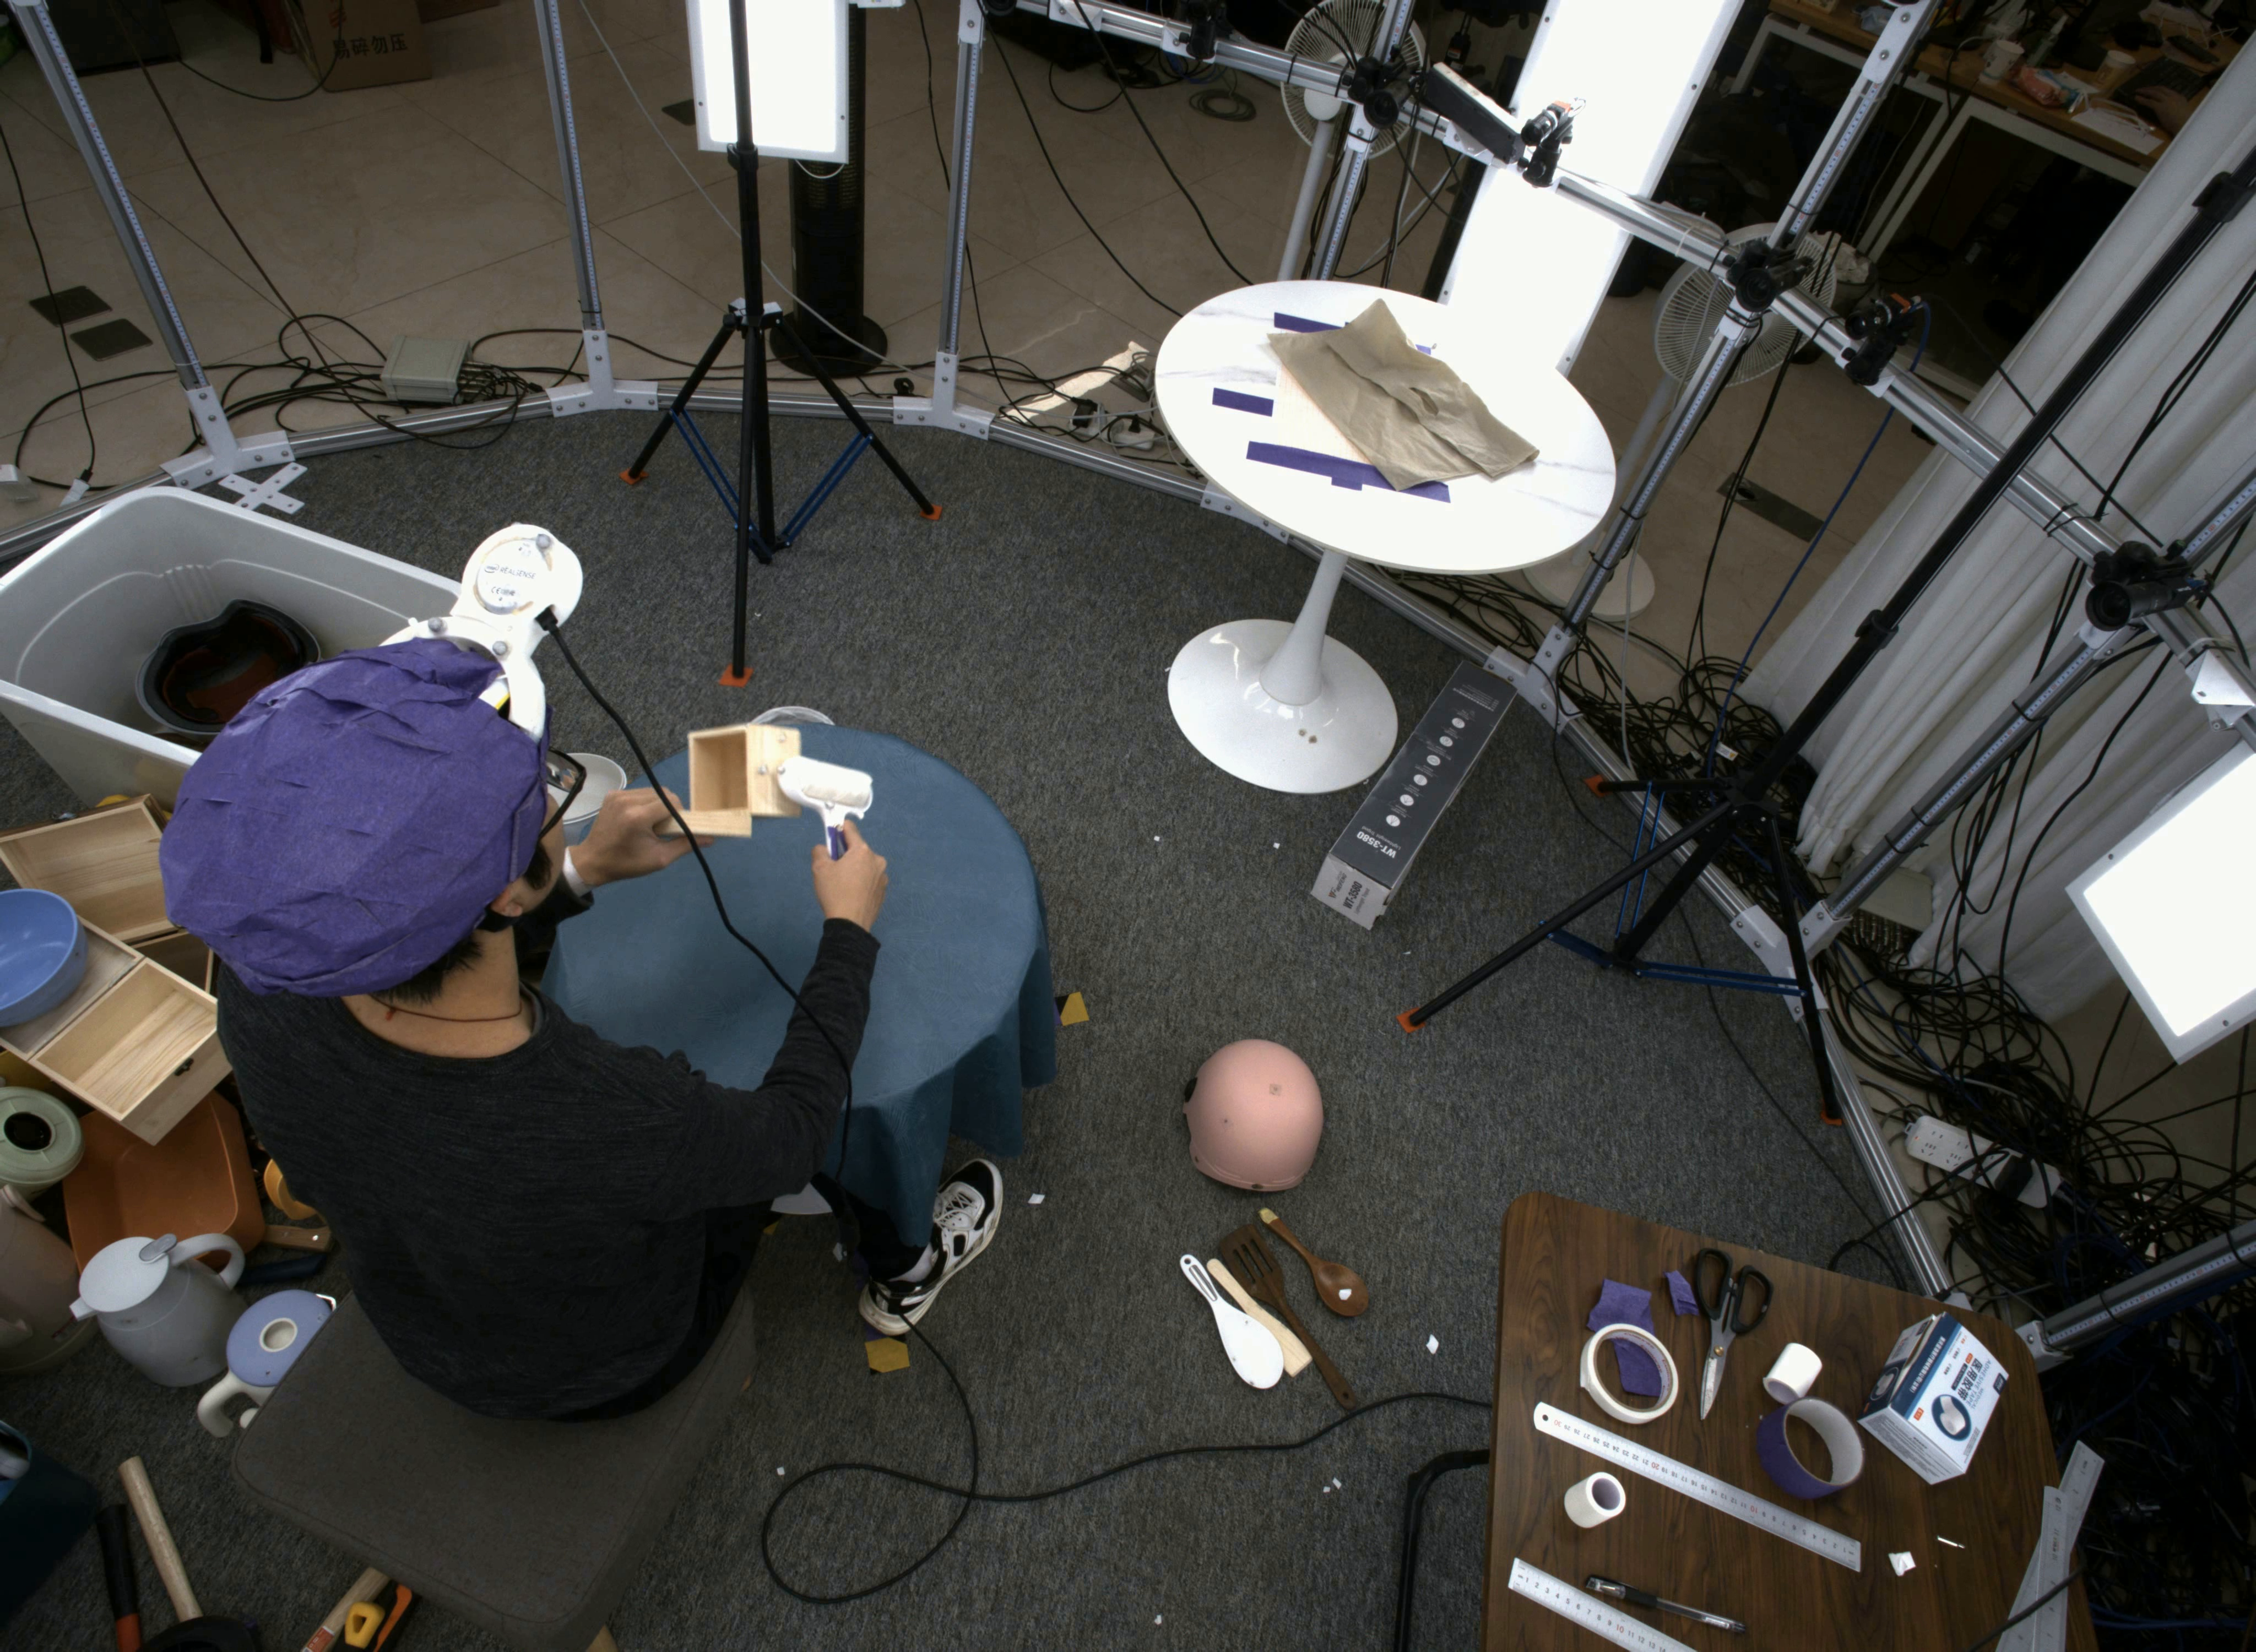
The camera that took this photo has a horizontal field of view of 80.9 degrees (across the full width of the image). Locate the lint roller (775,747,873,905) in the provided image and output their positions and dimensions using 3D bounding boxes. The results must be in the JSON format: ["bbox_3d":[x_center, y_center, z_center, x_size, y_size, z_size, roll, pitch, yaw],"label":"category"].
[{"bbox_3d":[-0.325,-0.003,1.463,0.136,0.049,0.178,16,48,-58],"label":"lint roller"}]

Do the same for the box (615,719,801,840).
[{"bbox_3d":[-0.465,-0.054,1.427,0.188,0.099,0.135,4,84,-59],"label":"box"}]
